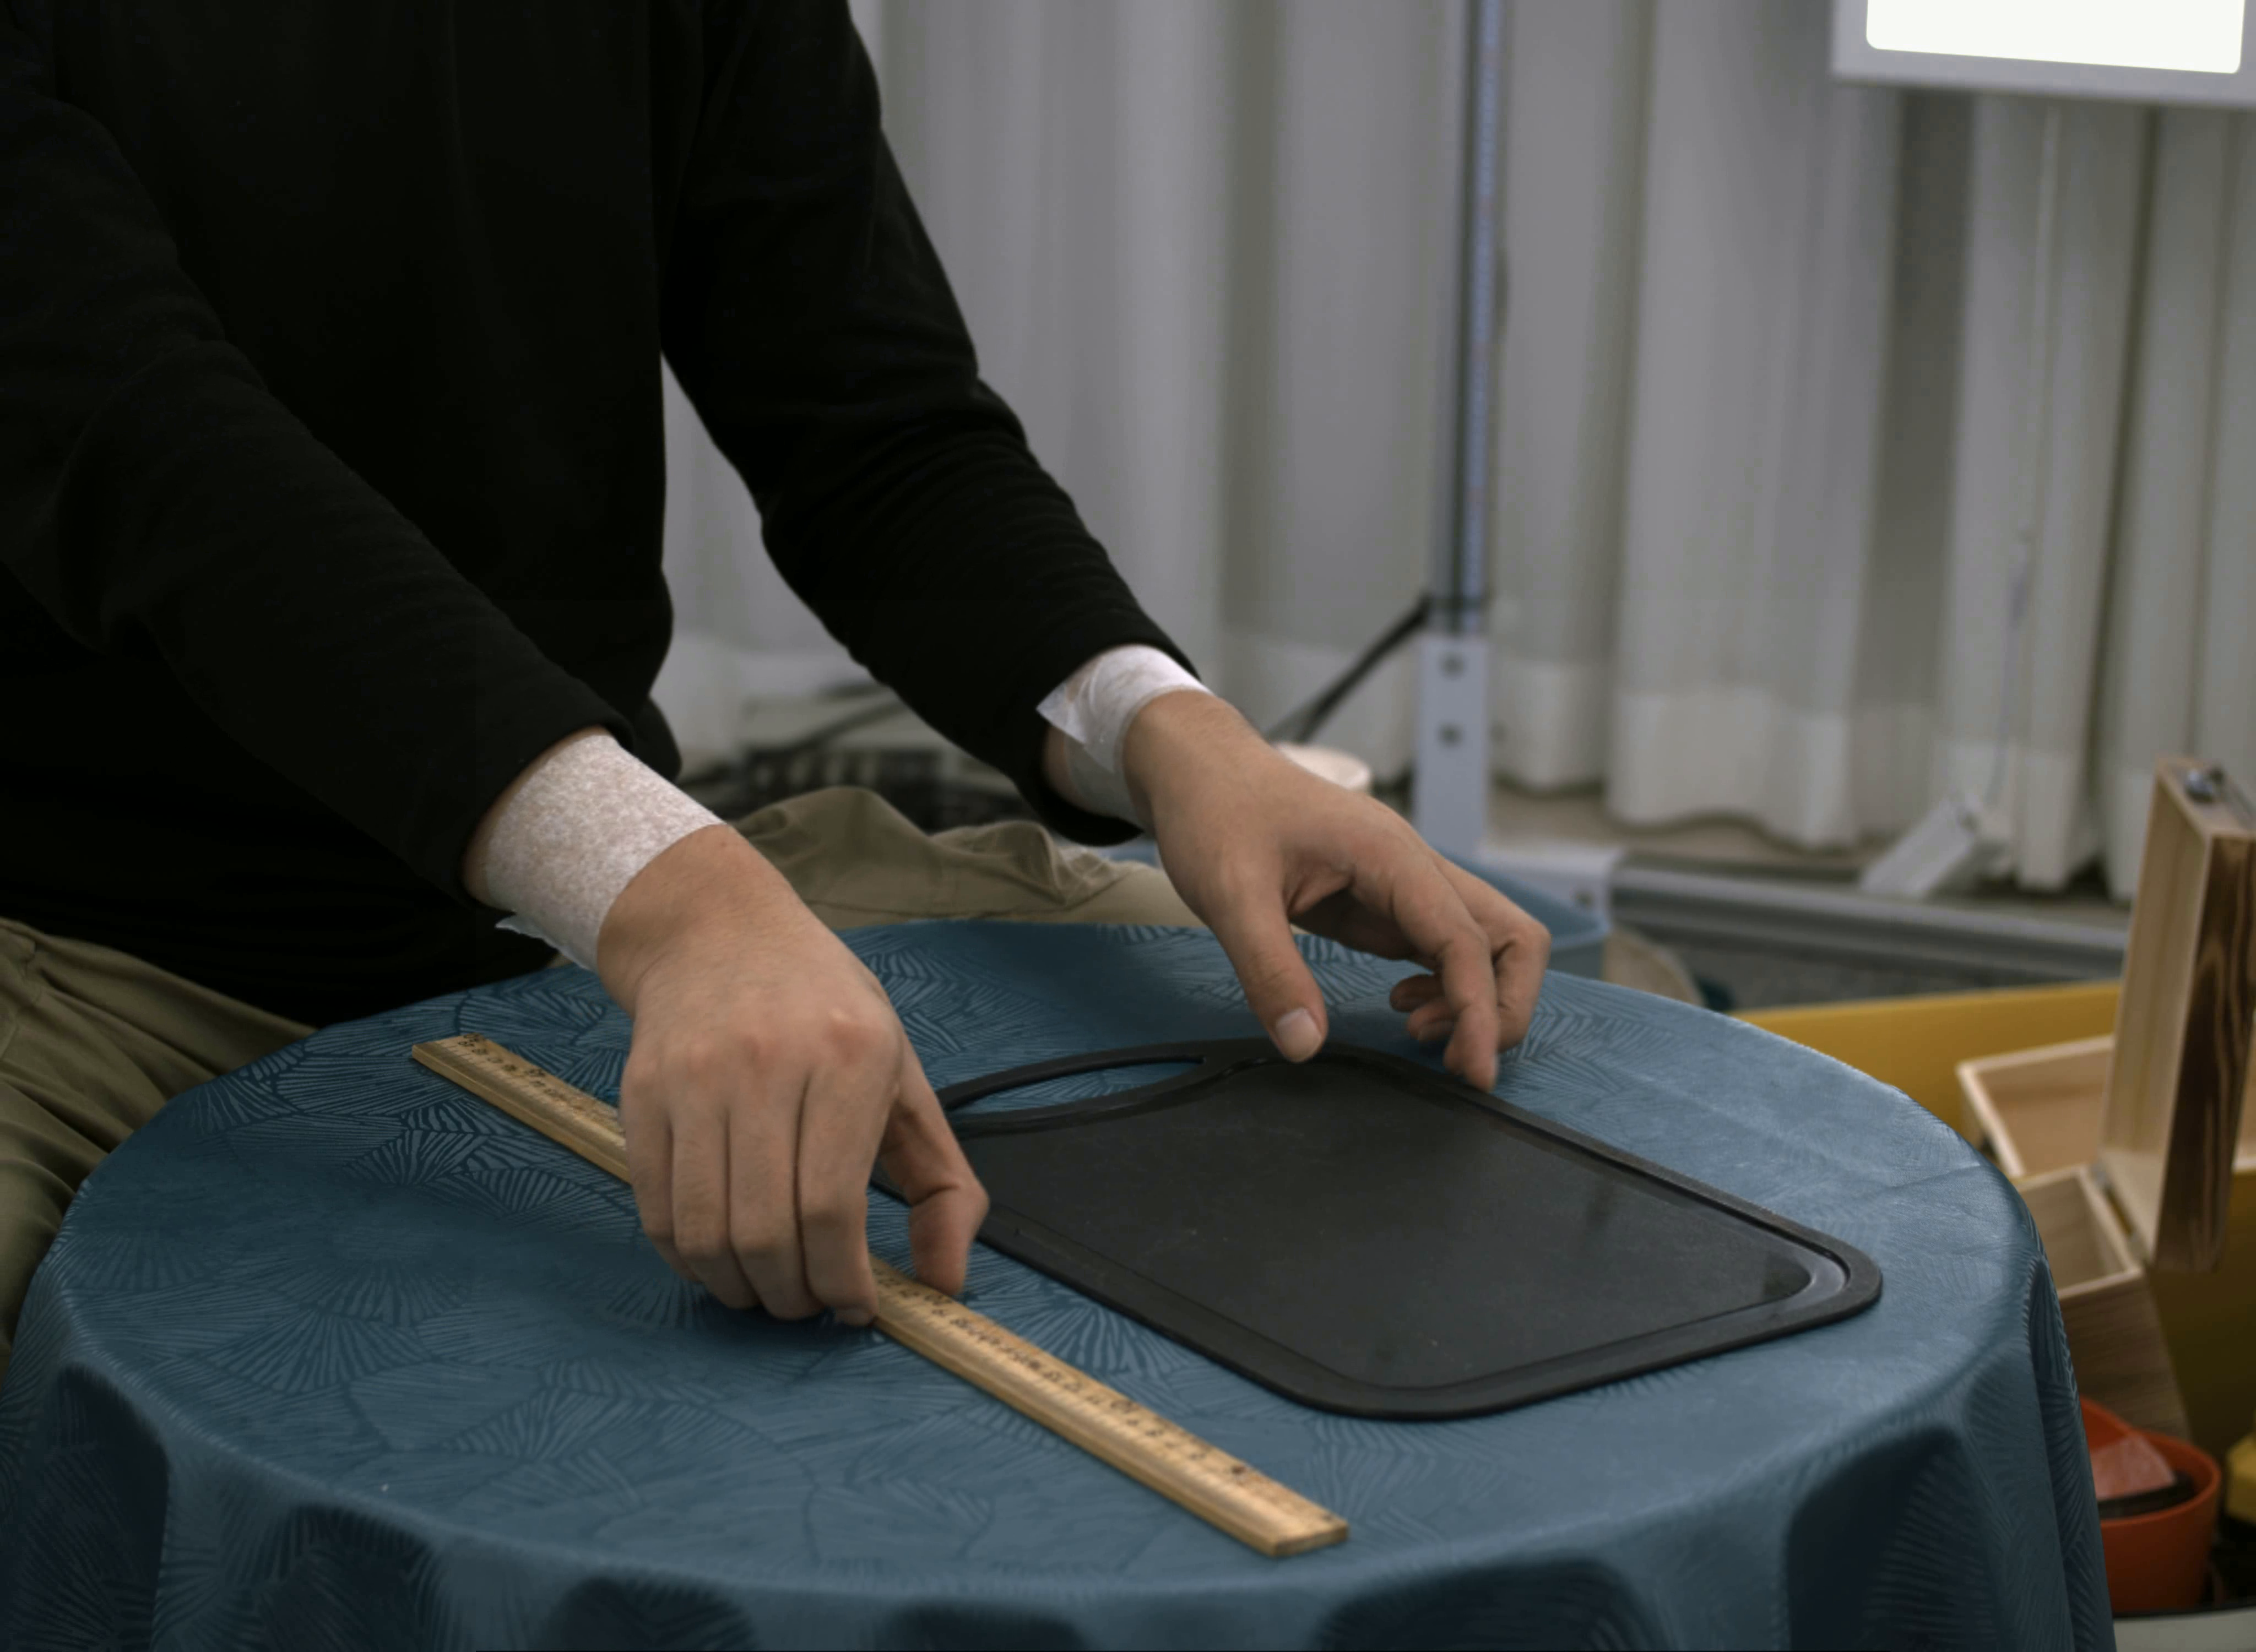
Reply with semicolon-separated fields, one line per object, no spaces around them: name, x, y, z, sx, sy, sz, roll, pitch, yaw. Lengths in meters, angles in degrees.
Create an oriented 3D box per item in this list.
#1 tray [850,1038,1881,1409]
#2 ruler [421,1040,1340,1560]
tray;0.061;0.113;1.606;0.212;0.010;0.321;-10;18;-33
ruler;-0.089;0.129;1.549;0.027;0.006;0.494;-7;17;-33
